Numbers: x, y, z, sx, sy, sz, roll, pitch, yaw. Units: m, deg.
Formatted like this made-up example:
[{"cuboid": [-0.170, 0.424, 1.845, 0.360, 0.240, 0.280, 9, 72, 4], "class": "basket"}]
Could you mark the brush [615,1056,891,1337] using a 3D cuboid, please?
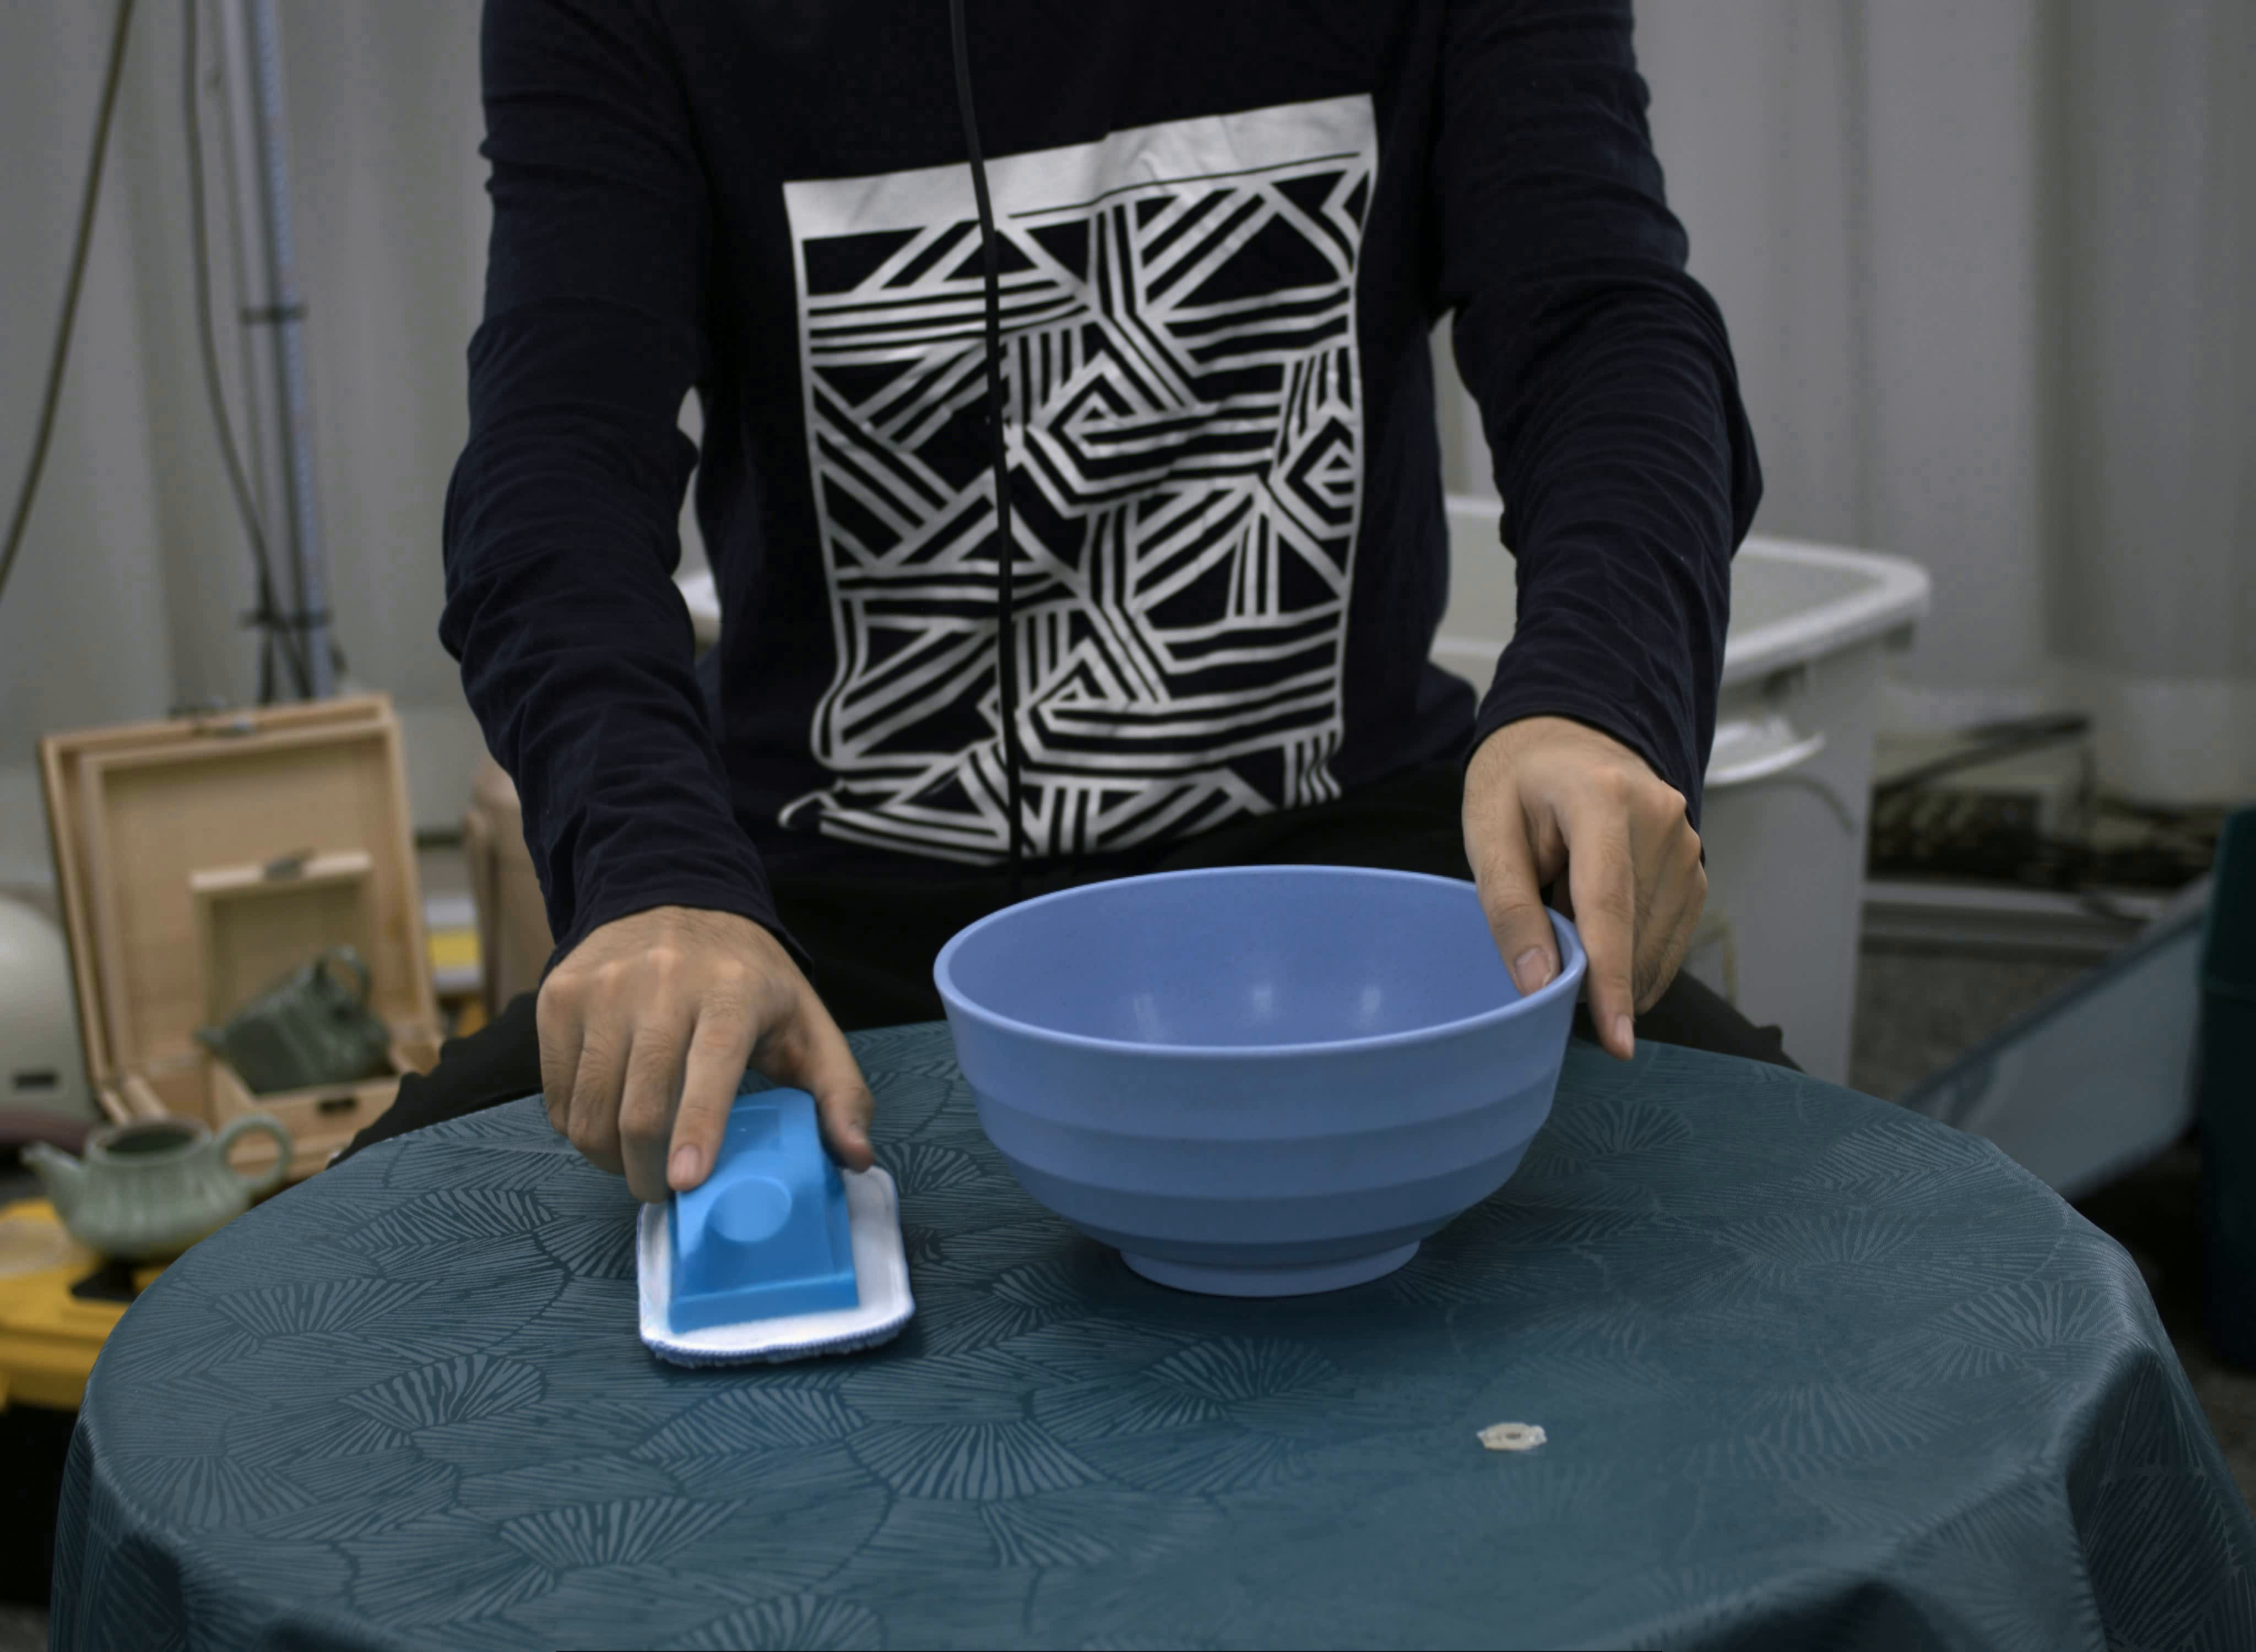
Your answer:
[{"cuboid": [-0.113, 0.108, 1.640, 0.083, 0.055, 0.145, -5, 17, -2], "class": "brush"}]

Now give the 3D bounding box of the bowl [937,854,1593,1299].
[{"cuboid": [0.042, 0.082, 1.647, 0.196, 0.095, 0.198, -2, 16, 0], "class": "bowl"}]
